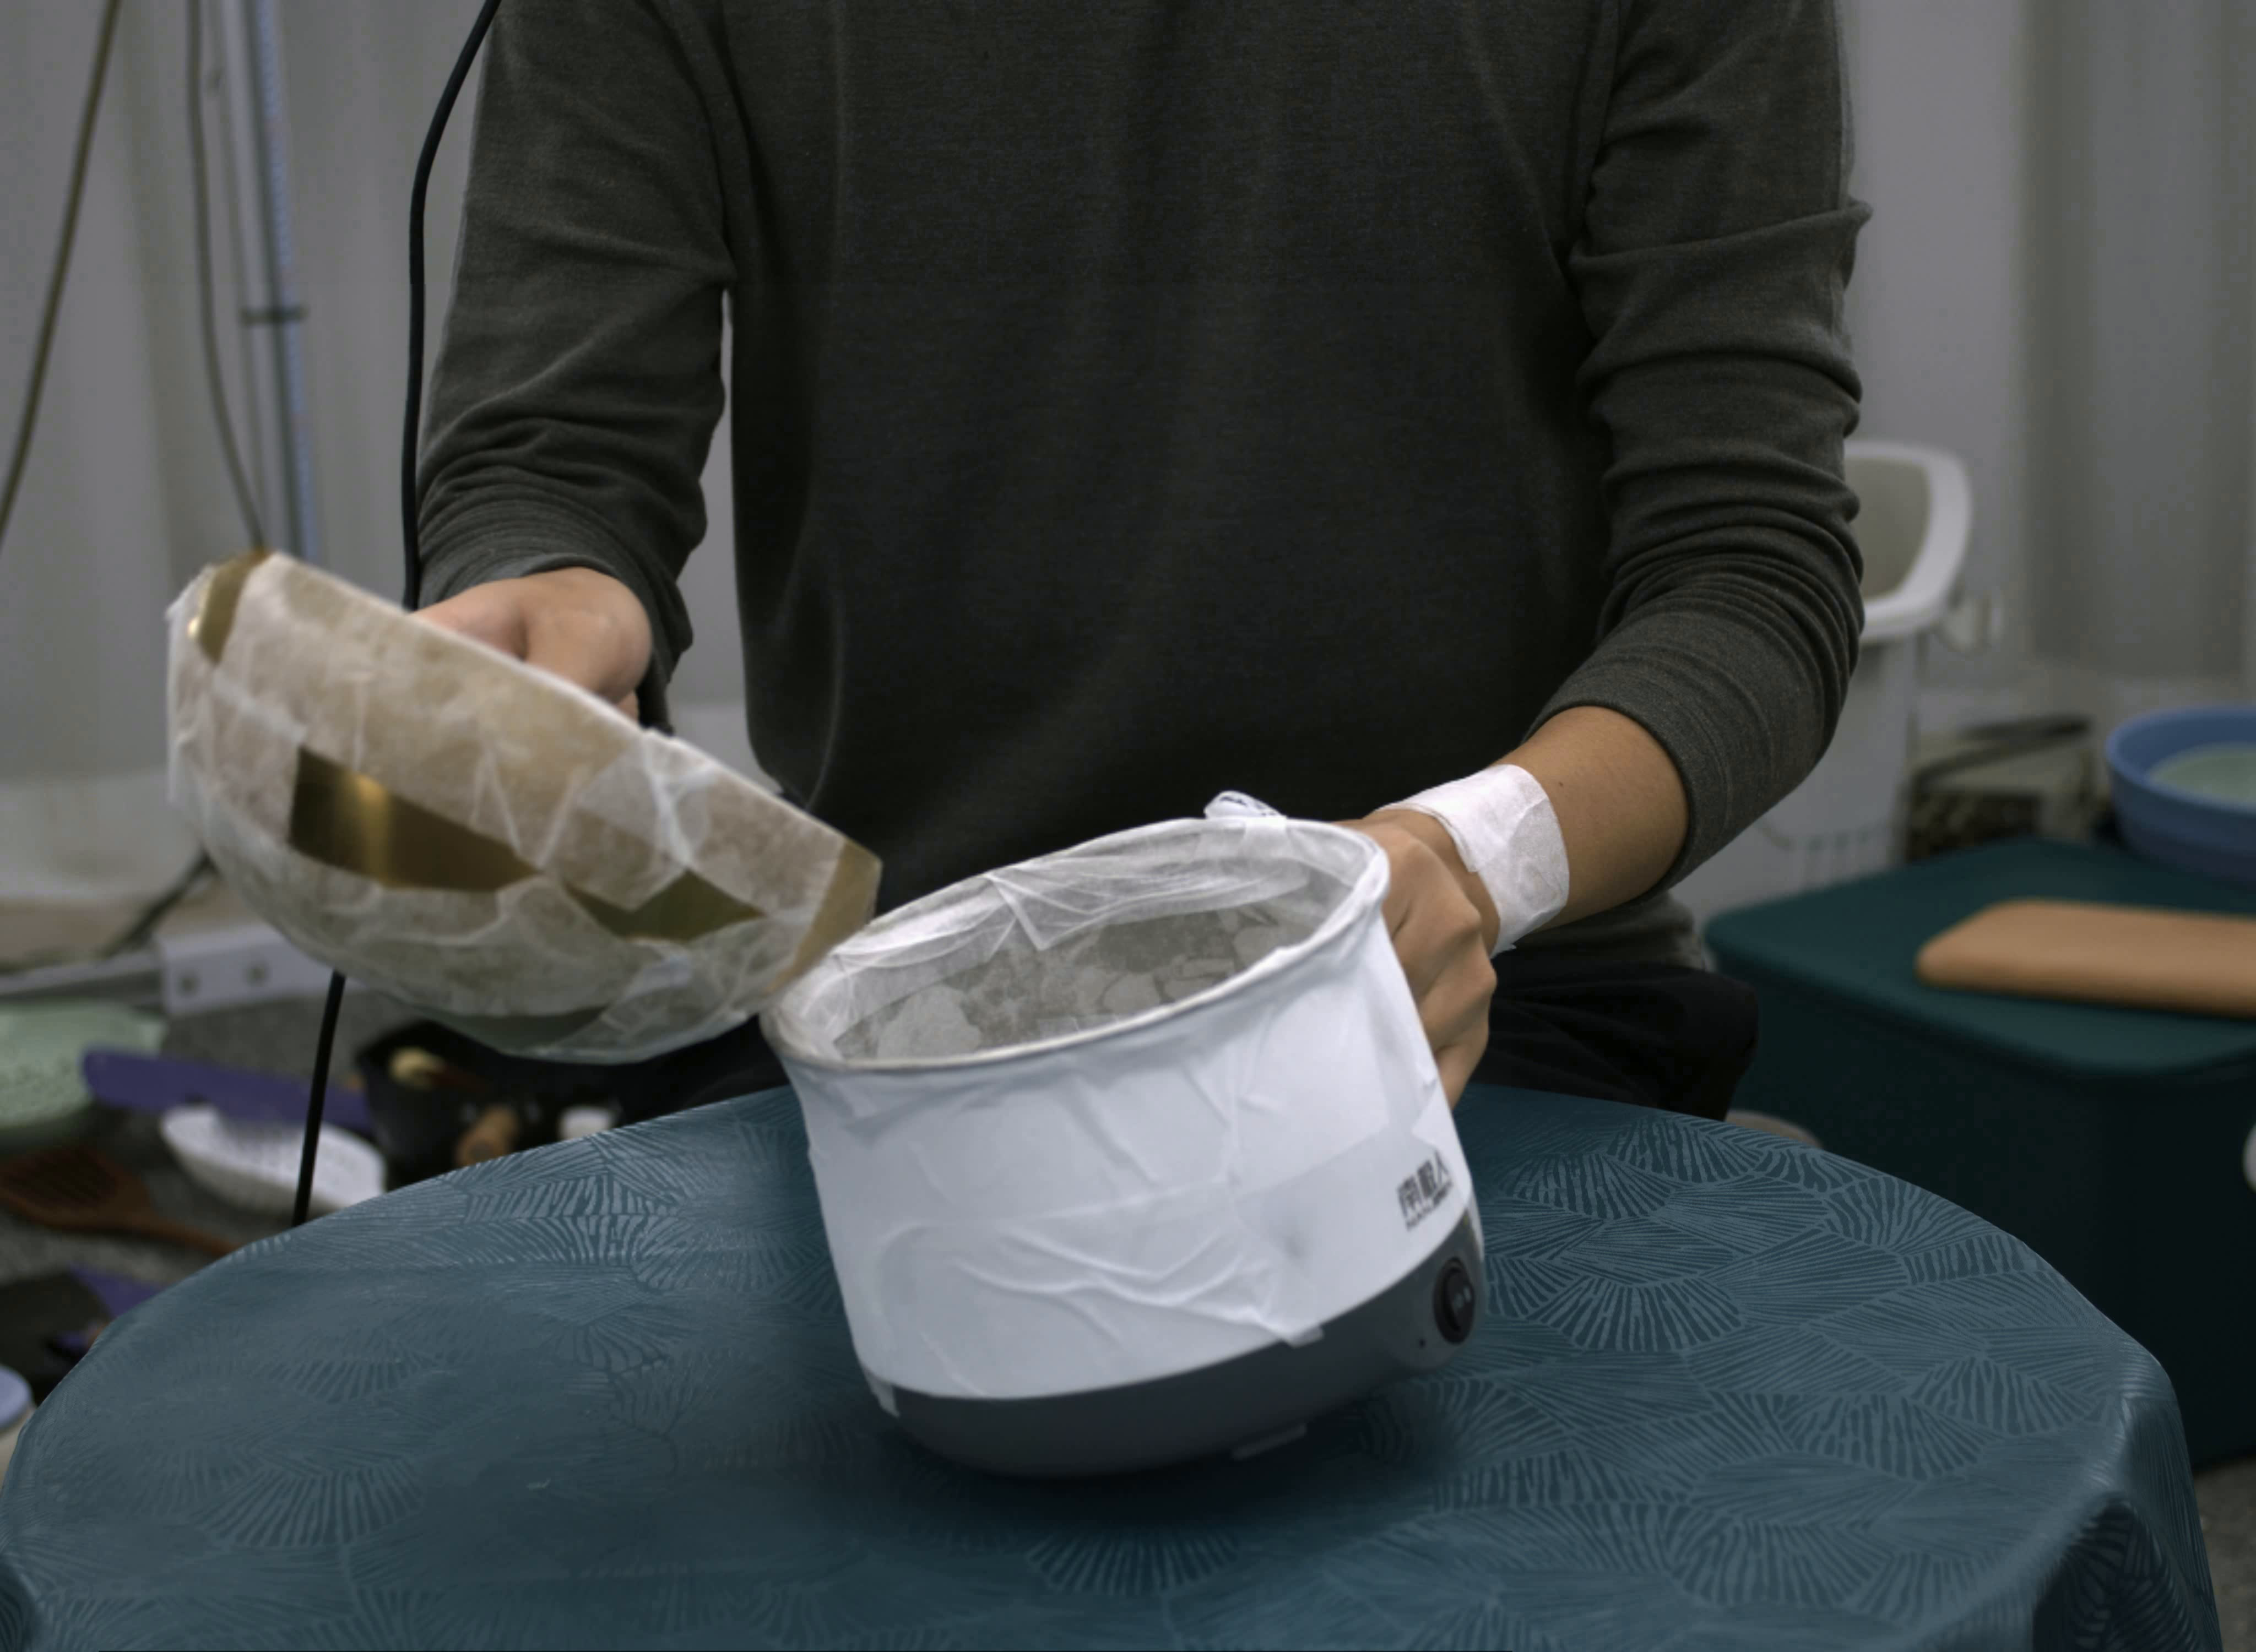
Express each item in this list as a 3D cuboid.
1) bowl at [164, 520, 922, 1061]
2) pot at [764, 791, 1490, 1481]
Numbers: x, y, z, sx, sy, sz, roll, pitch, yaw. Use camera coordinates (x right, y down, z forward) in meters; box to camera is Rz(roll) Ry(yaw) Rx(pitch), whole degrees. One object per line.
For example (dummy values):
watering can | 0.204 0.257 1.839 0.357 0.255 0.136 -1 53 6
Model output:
bowl | -0.171 0.006 1.456 0.214 0.095 0.214 24 -4 2
pot | 0.014 0.079 1.522 0.179 0.136 0.235 -6 17 29
